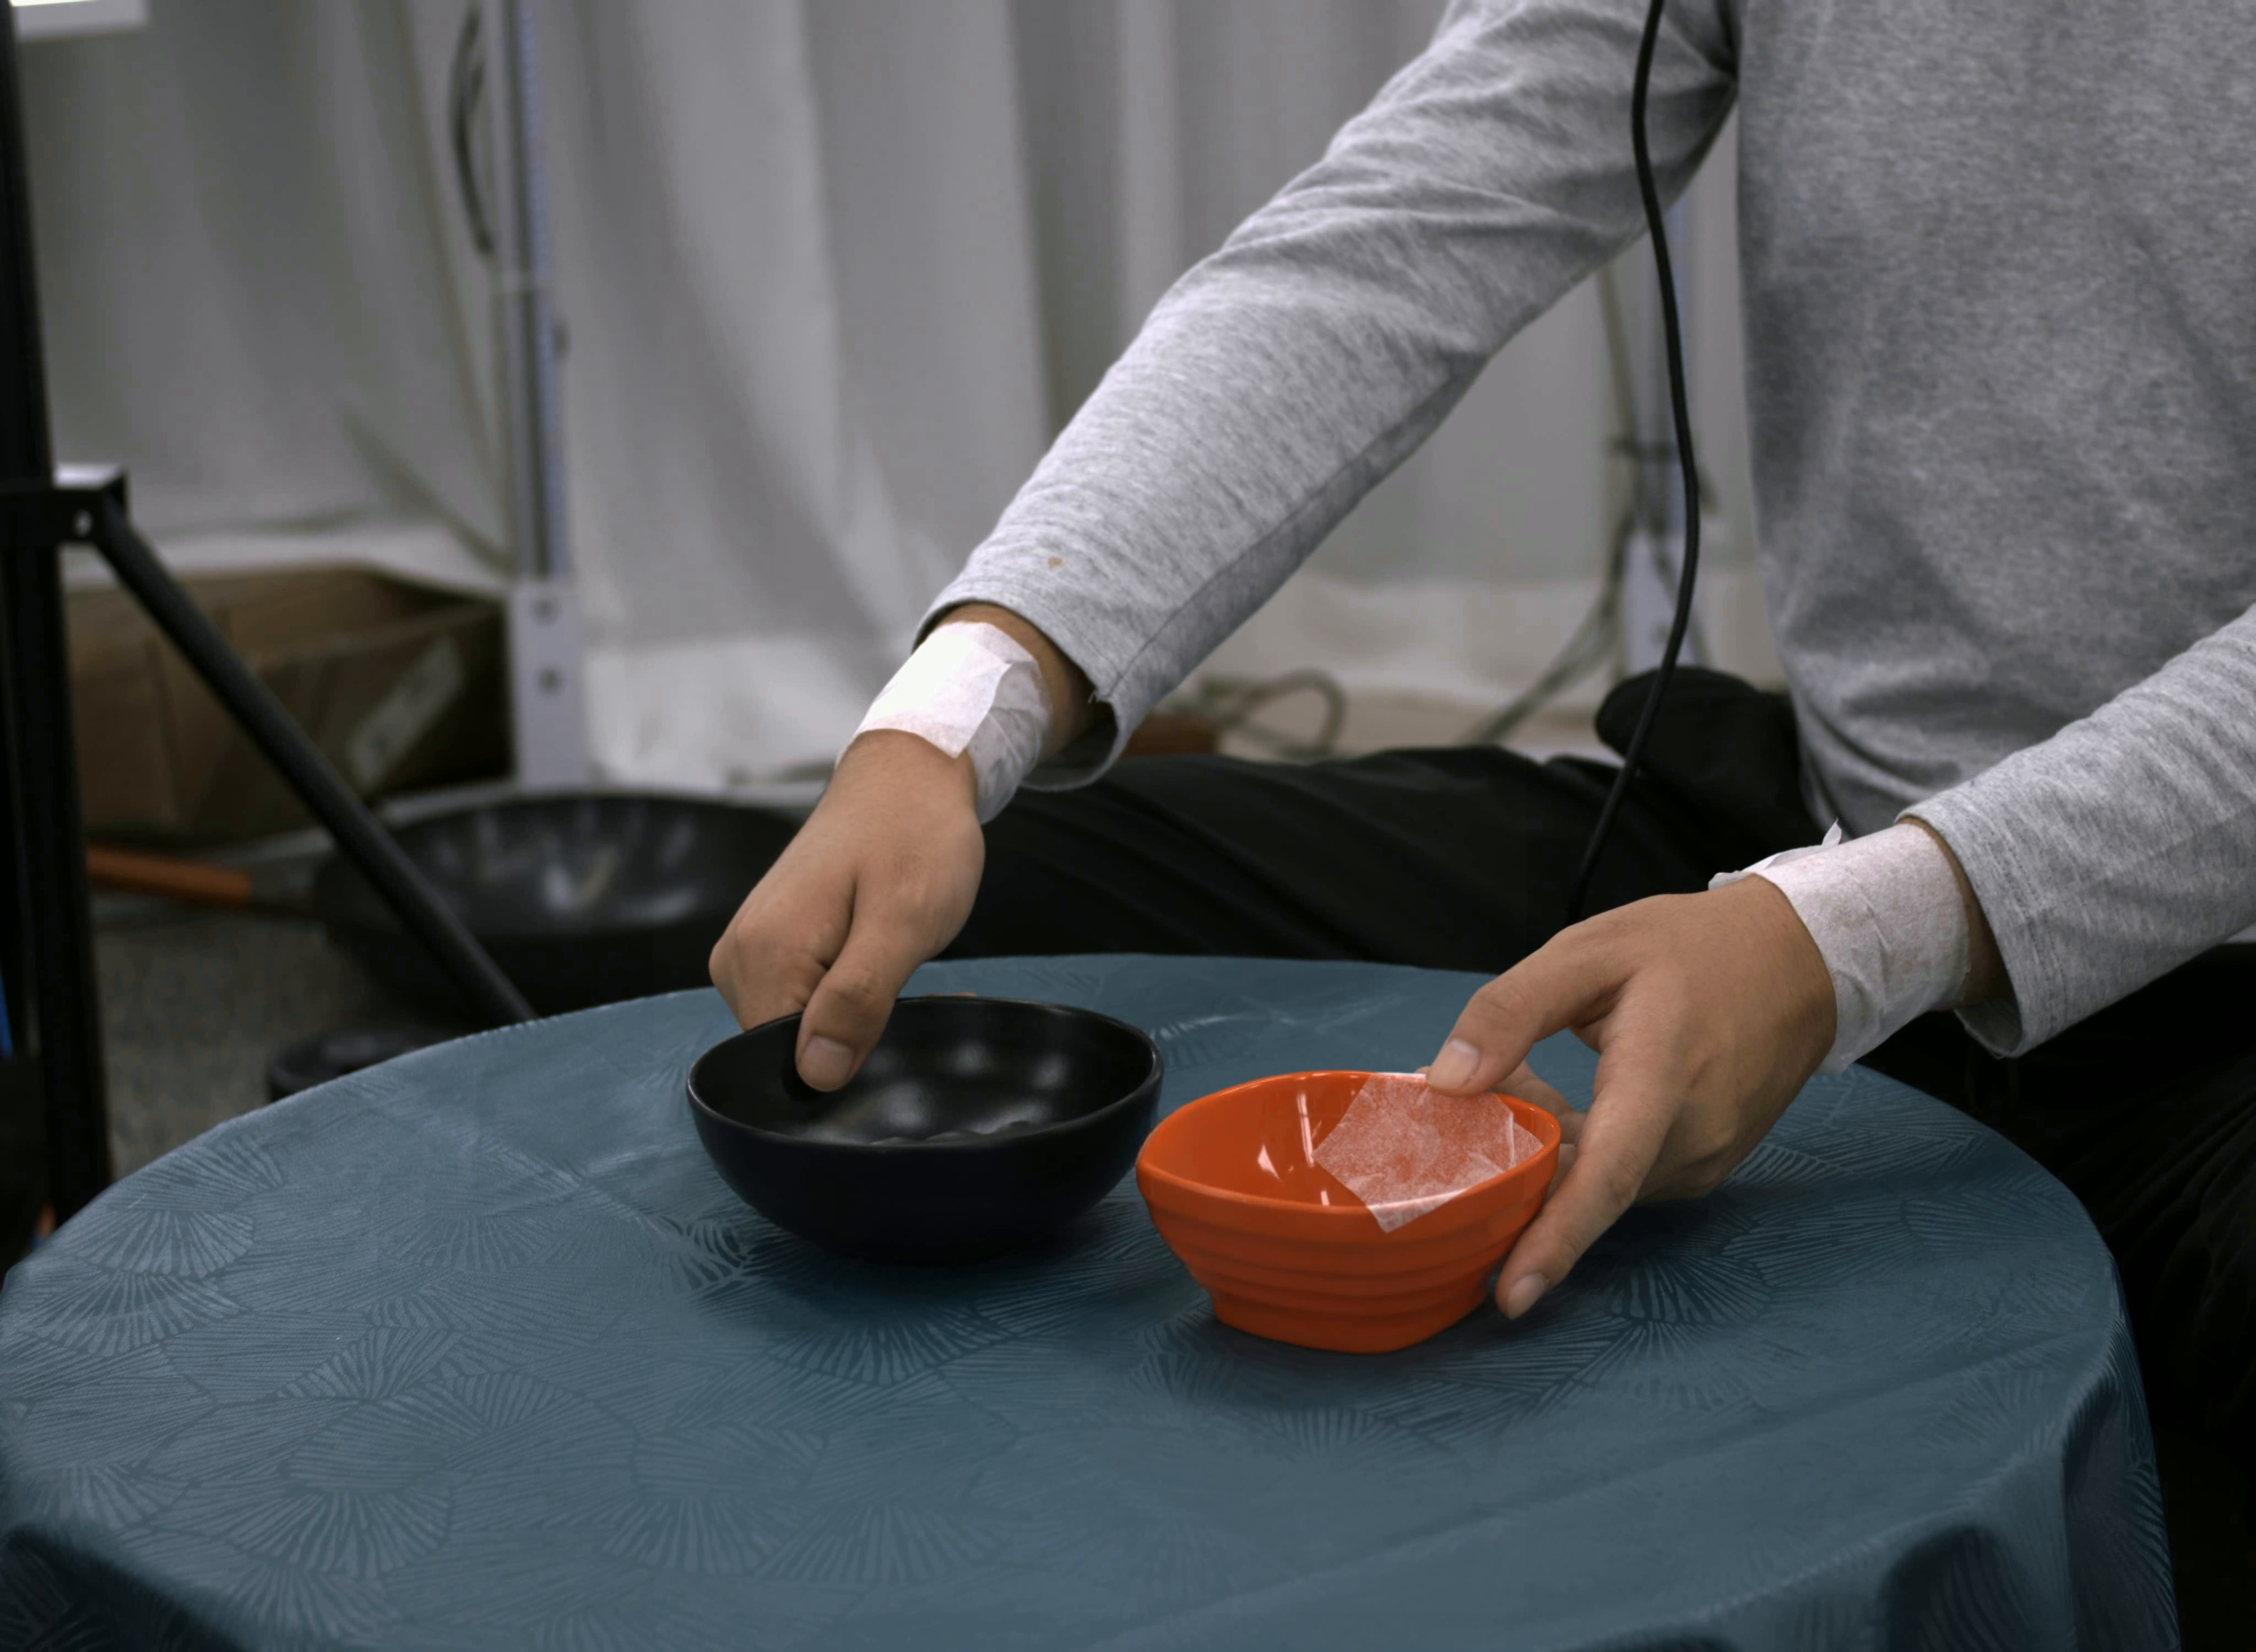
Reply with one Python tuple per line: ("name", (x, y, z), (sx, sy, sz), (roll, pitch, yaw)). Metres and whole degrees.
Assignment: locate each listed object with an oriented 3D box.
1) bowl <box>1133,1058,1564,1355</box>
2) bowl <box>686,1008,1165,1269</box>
("bowl", (0.062, 0.107, 1.454), (0.118, 0.051, 0.119), (-5, 17, 0))
("bowl", (-0.058, 0.095, 1.538), (0.139, 0.050, 0.140), (1, 14, -2))
